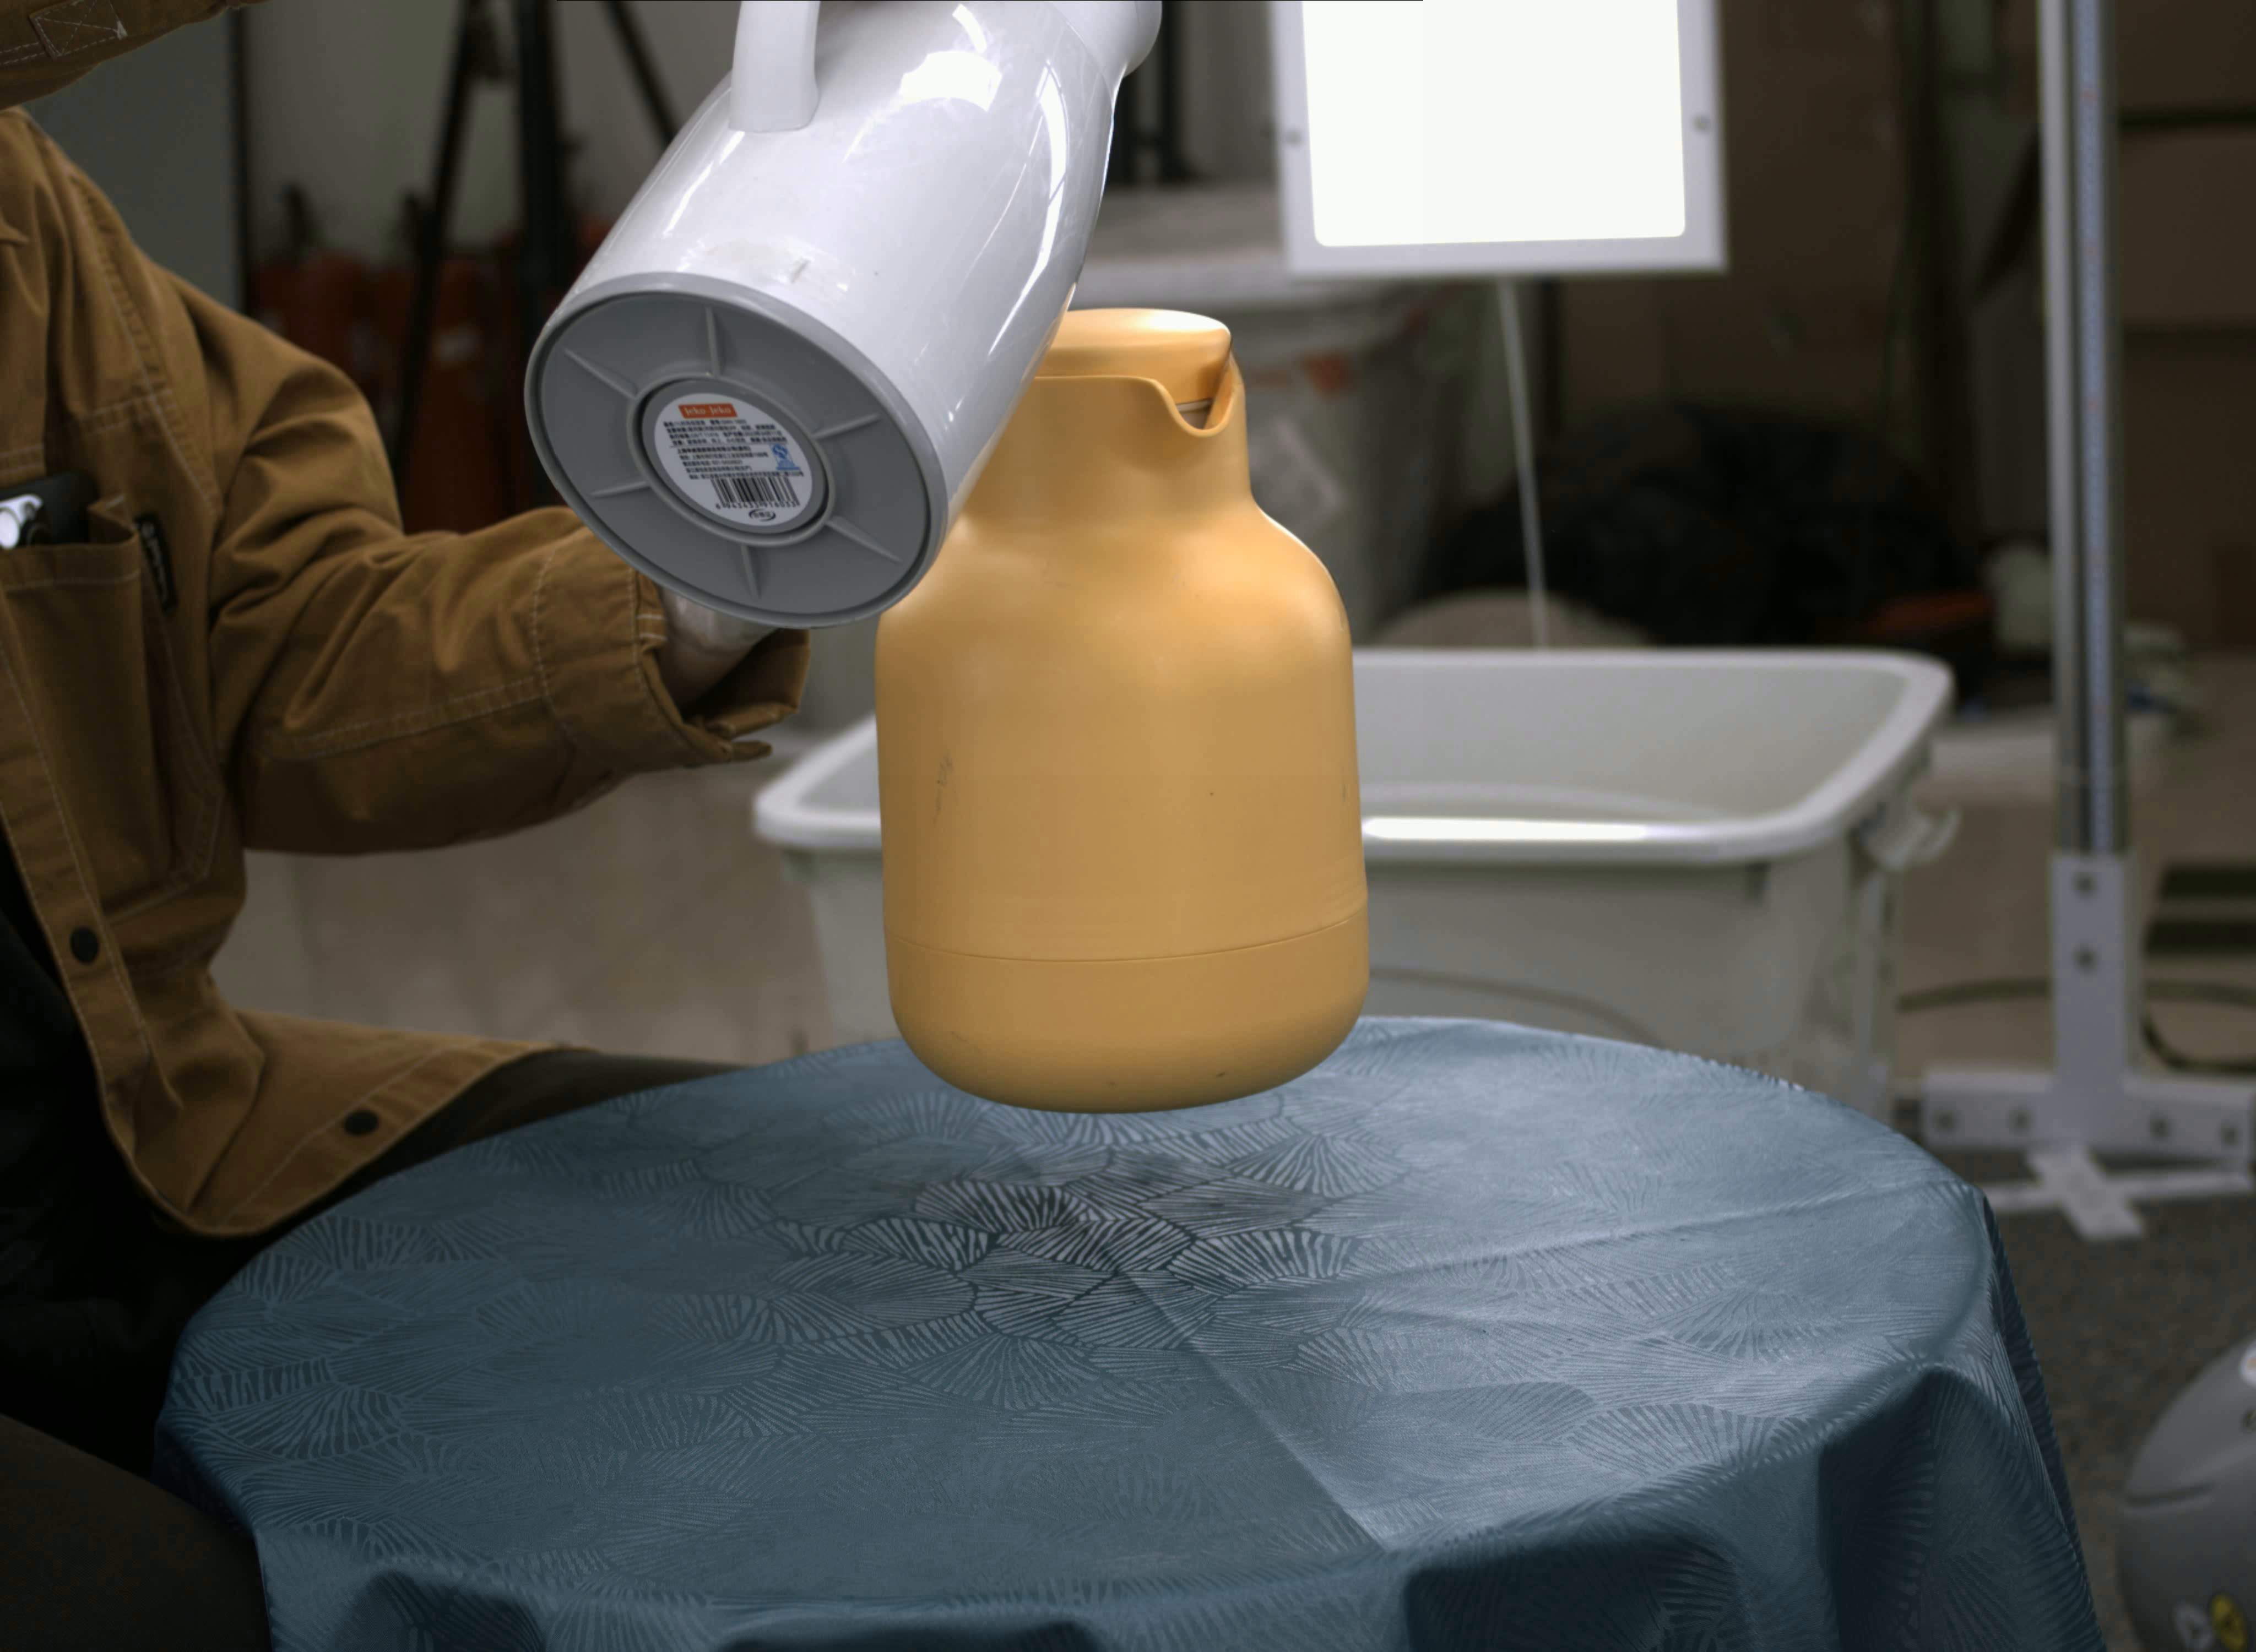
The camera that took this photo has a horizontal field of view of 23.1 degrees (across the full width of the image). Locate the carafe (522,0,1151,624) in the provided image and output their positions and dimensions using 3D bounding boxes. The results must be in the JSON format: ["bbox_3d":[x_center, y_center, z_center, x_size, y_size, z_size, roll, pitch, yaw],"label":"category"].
[{"bbox_3d":[-0.078,-0.205,1.664,0.135,0.167,0.245,4,46,27],"label":"carafe"}]

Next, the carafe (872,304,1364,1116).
[{"bbox_3d":[-0.012,-0.045,1.853,0.160,0.261,0.205,-7,13,-25],"label":"carafe"}]
